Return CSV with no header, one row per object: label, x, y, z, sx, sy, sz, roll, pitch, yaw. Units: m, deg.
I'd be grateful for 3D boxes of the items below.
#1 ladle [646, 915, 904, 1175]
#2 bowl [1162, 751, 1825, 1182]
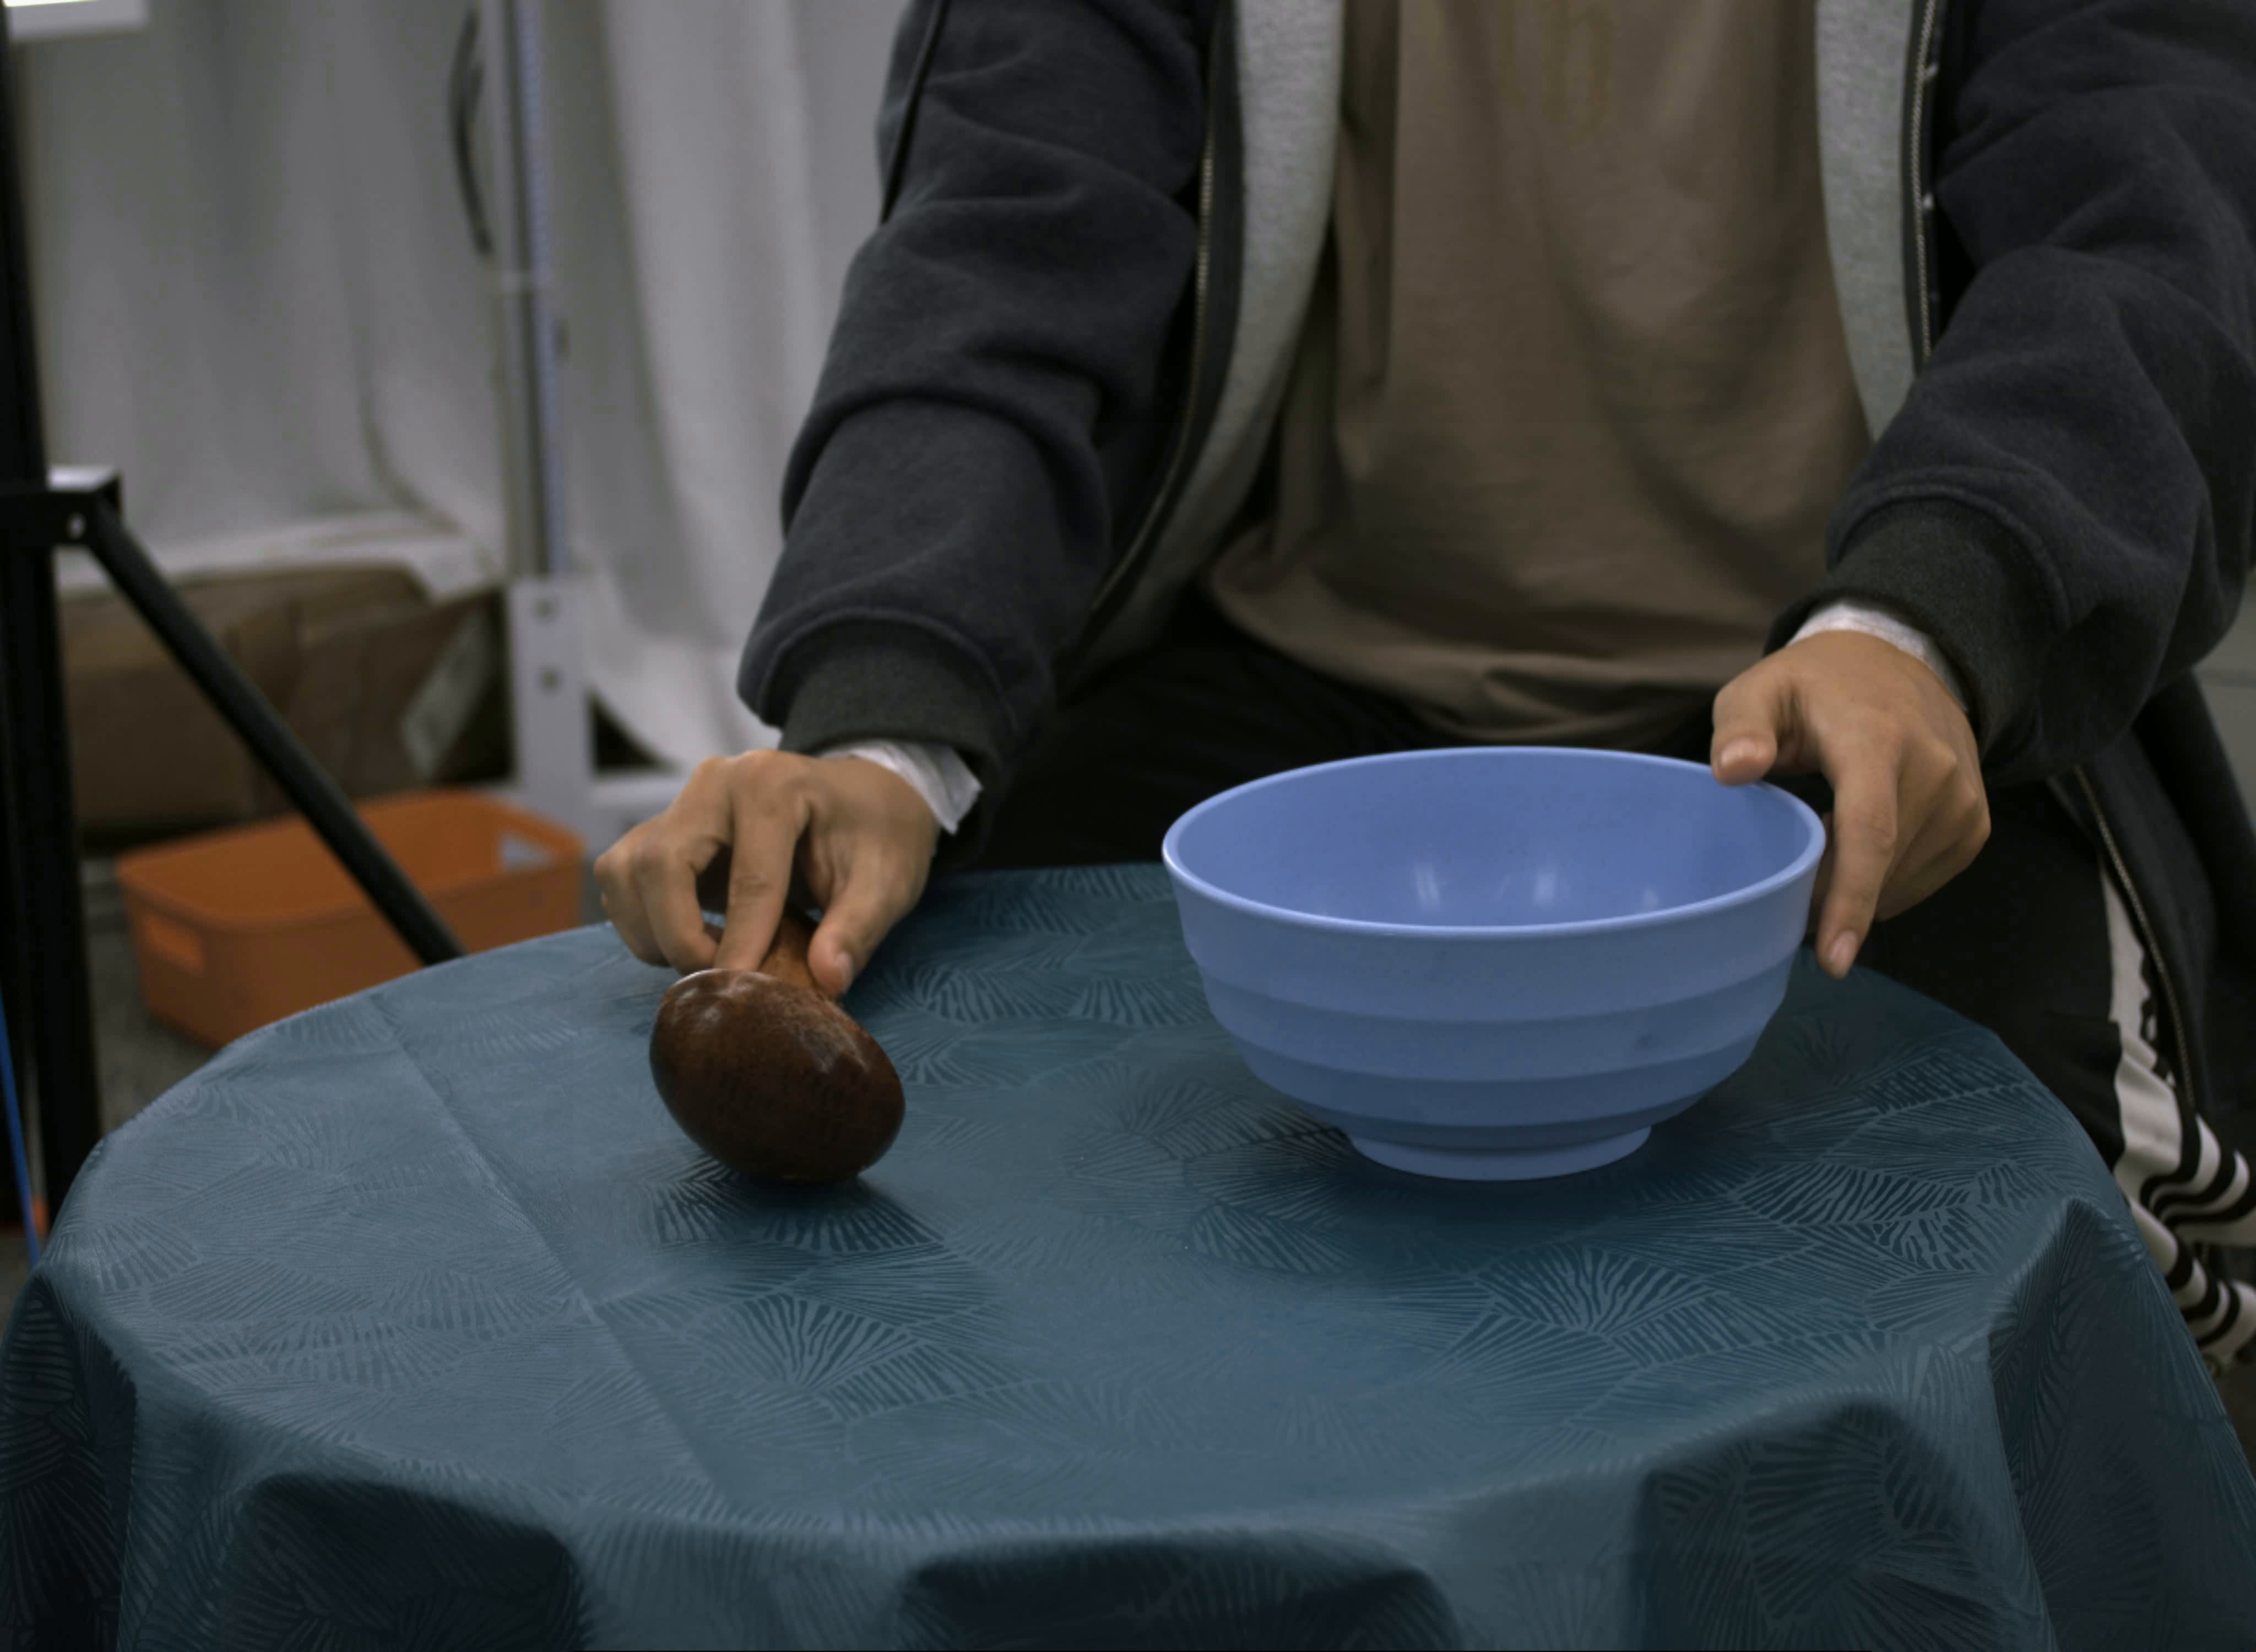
ladle,-0.098,0.045,1.668,0.081,0.077,0.274,38,14,-5
bowl,0.110,0.047,1.583,0.195,0.095,0.197,-3,15,-1
